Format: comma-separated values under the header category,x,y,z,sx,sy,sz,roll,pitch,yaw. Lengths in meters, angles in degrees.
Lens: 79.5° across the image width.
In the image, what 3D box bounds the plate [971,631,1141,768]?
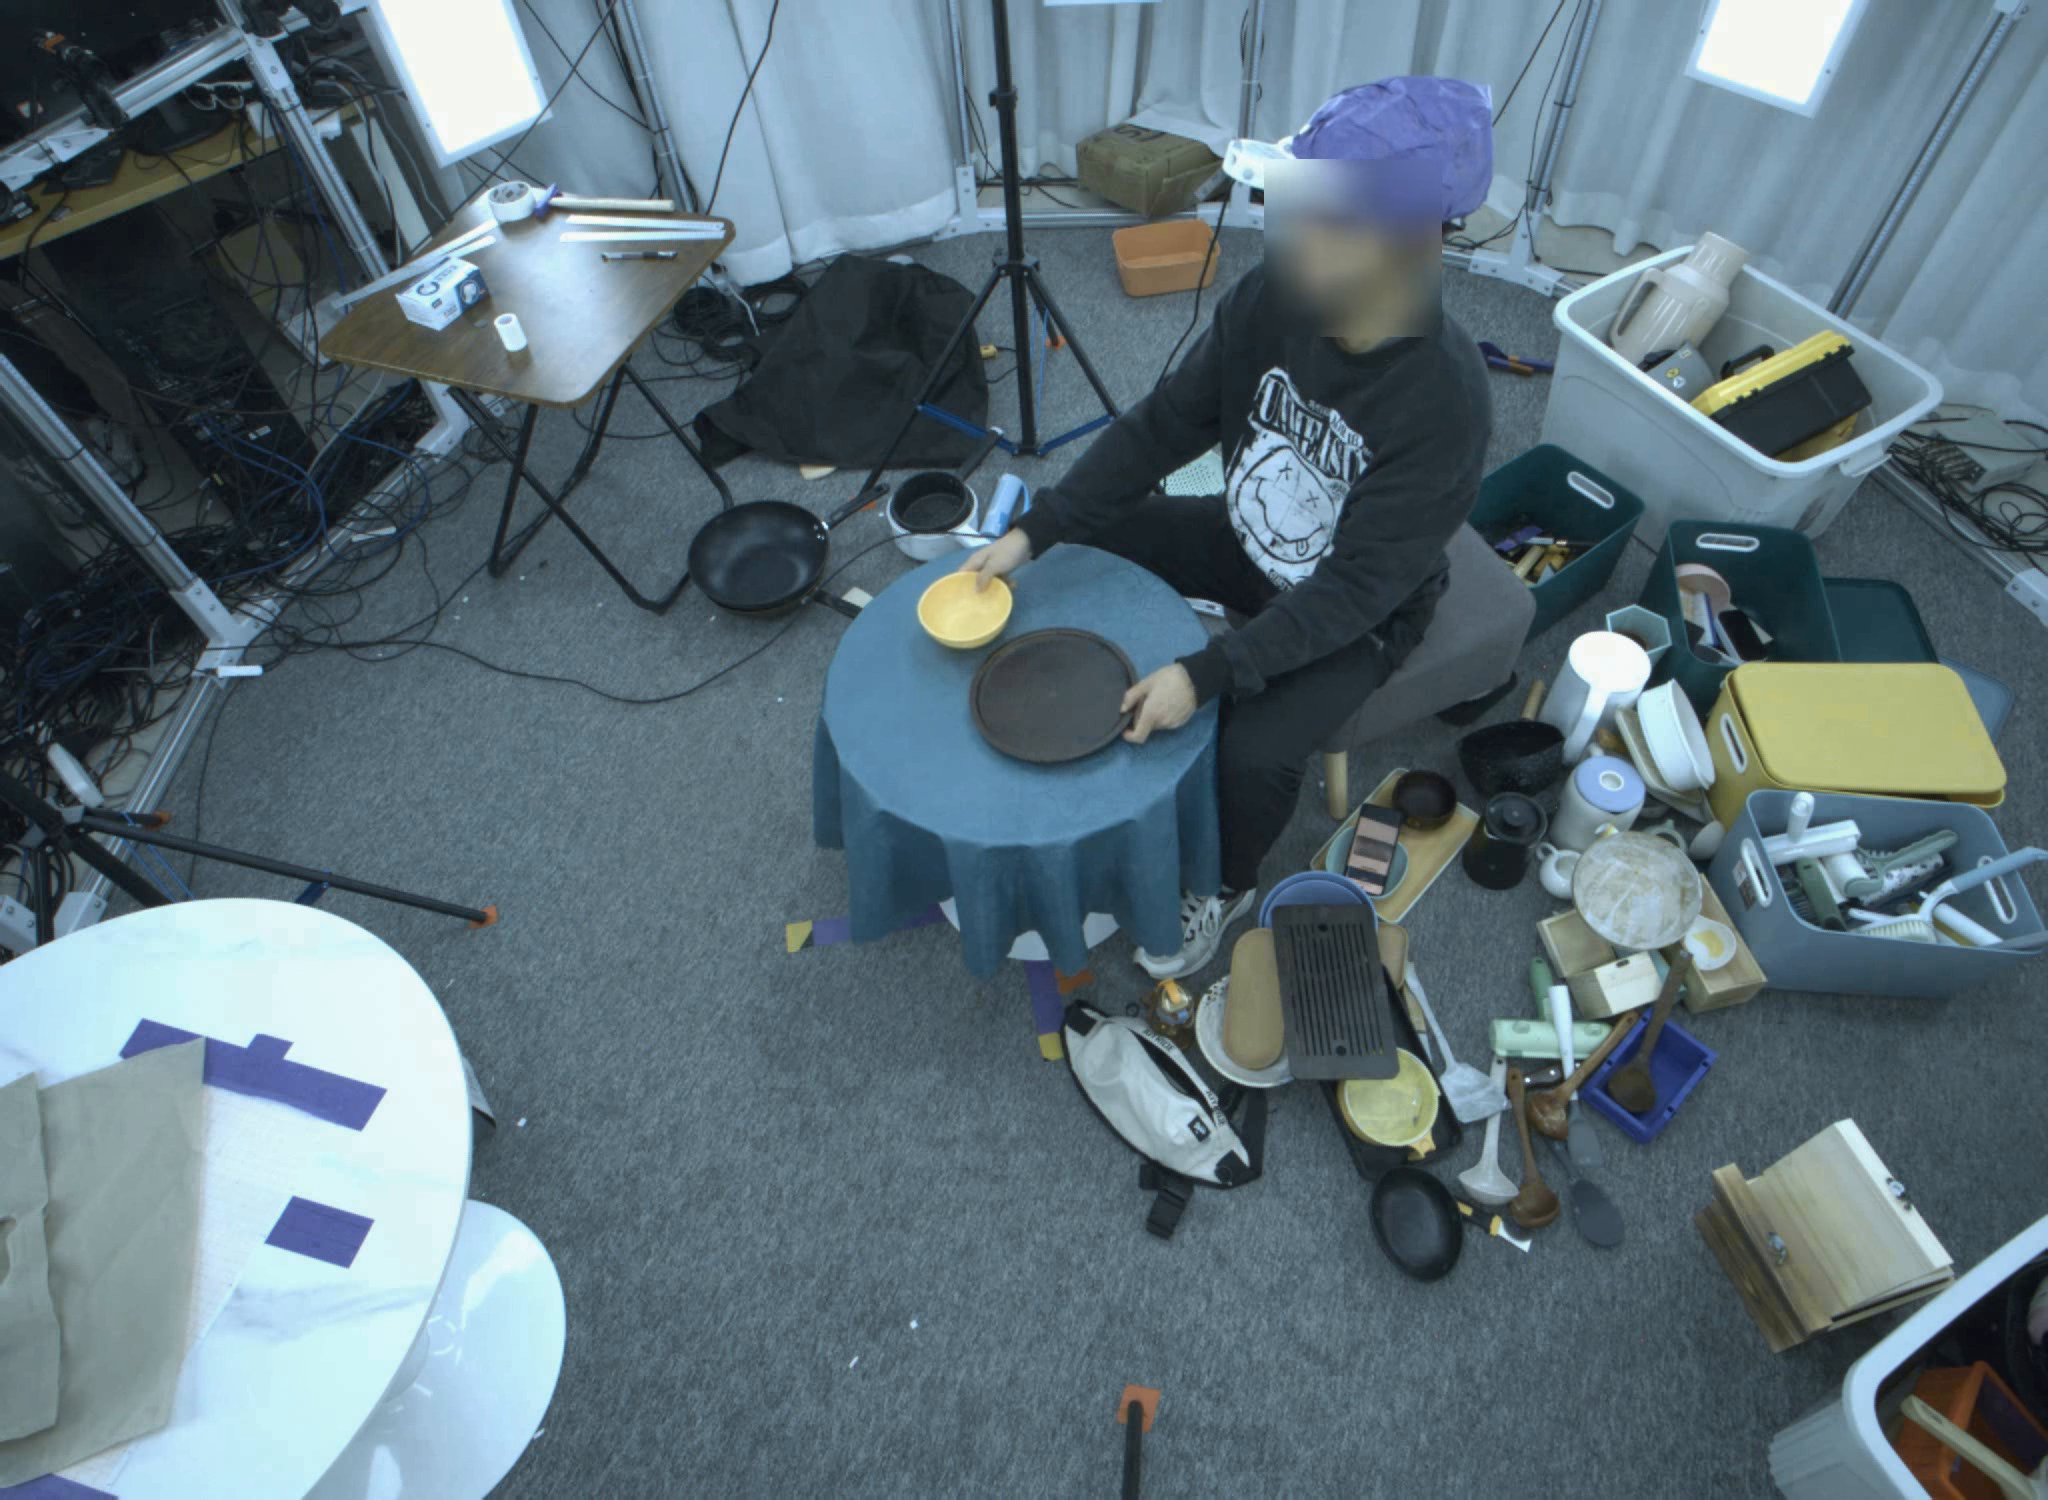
category,x,y,z,sx,sy,sz,roll,pitch,yaw
plate,0.047,-0.076,1.828,0.254,0.029,0.252,-2,53,4

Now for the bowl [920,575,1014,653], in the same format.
category,x,y,z,sx,sy,sz,roll,pitch,yaw
bowl,-0.085,-0.198,1.898,0.145,0.061,0.144,-1,54,3
